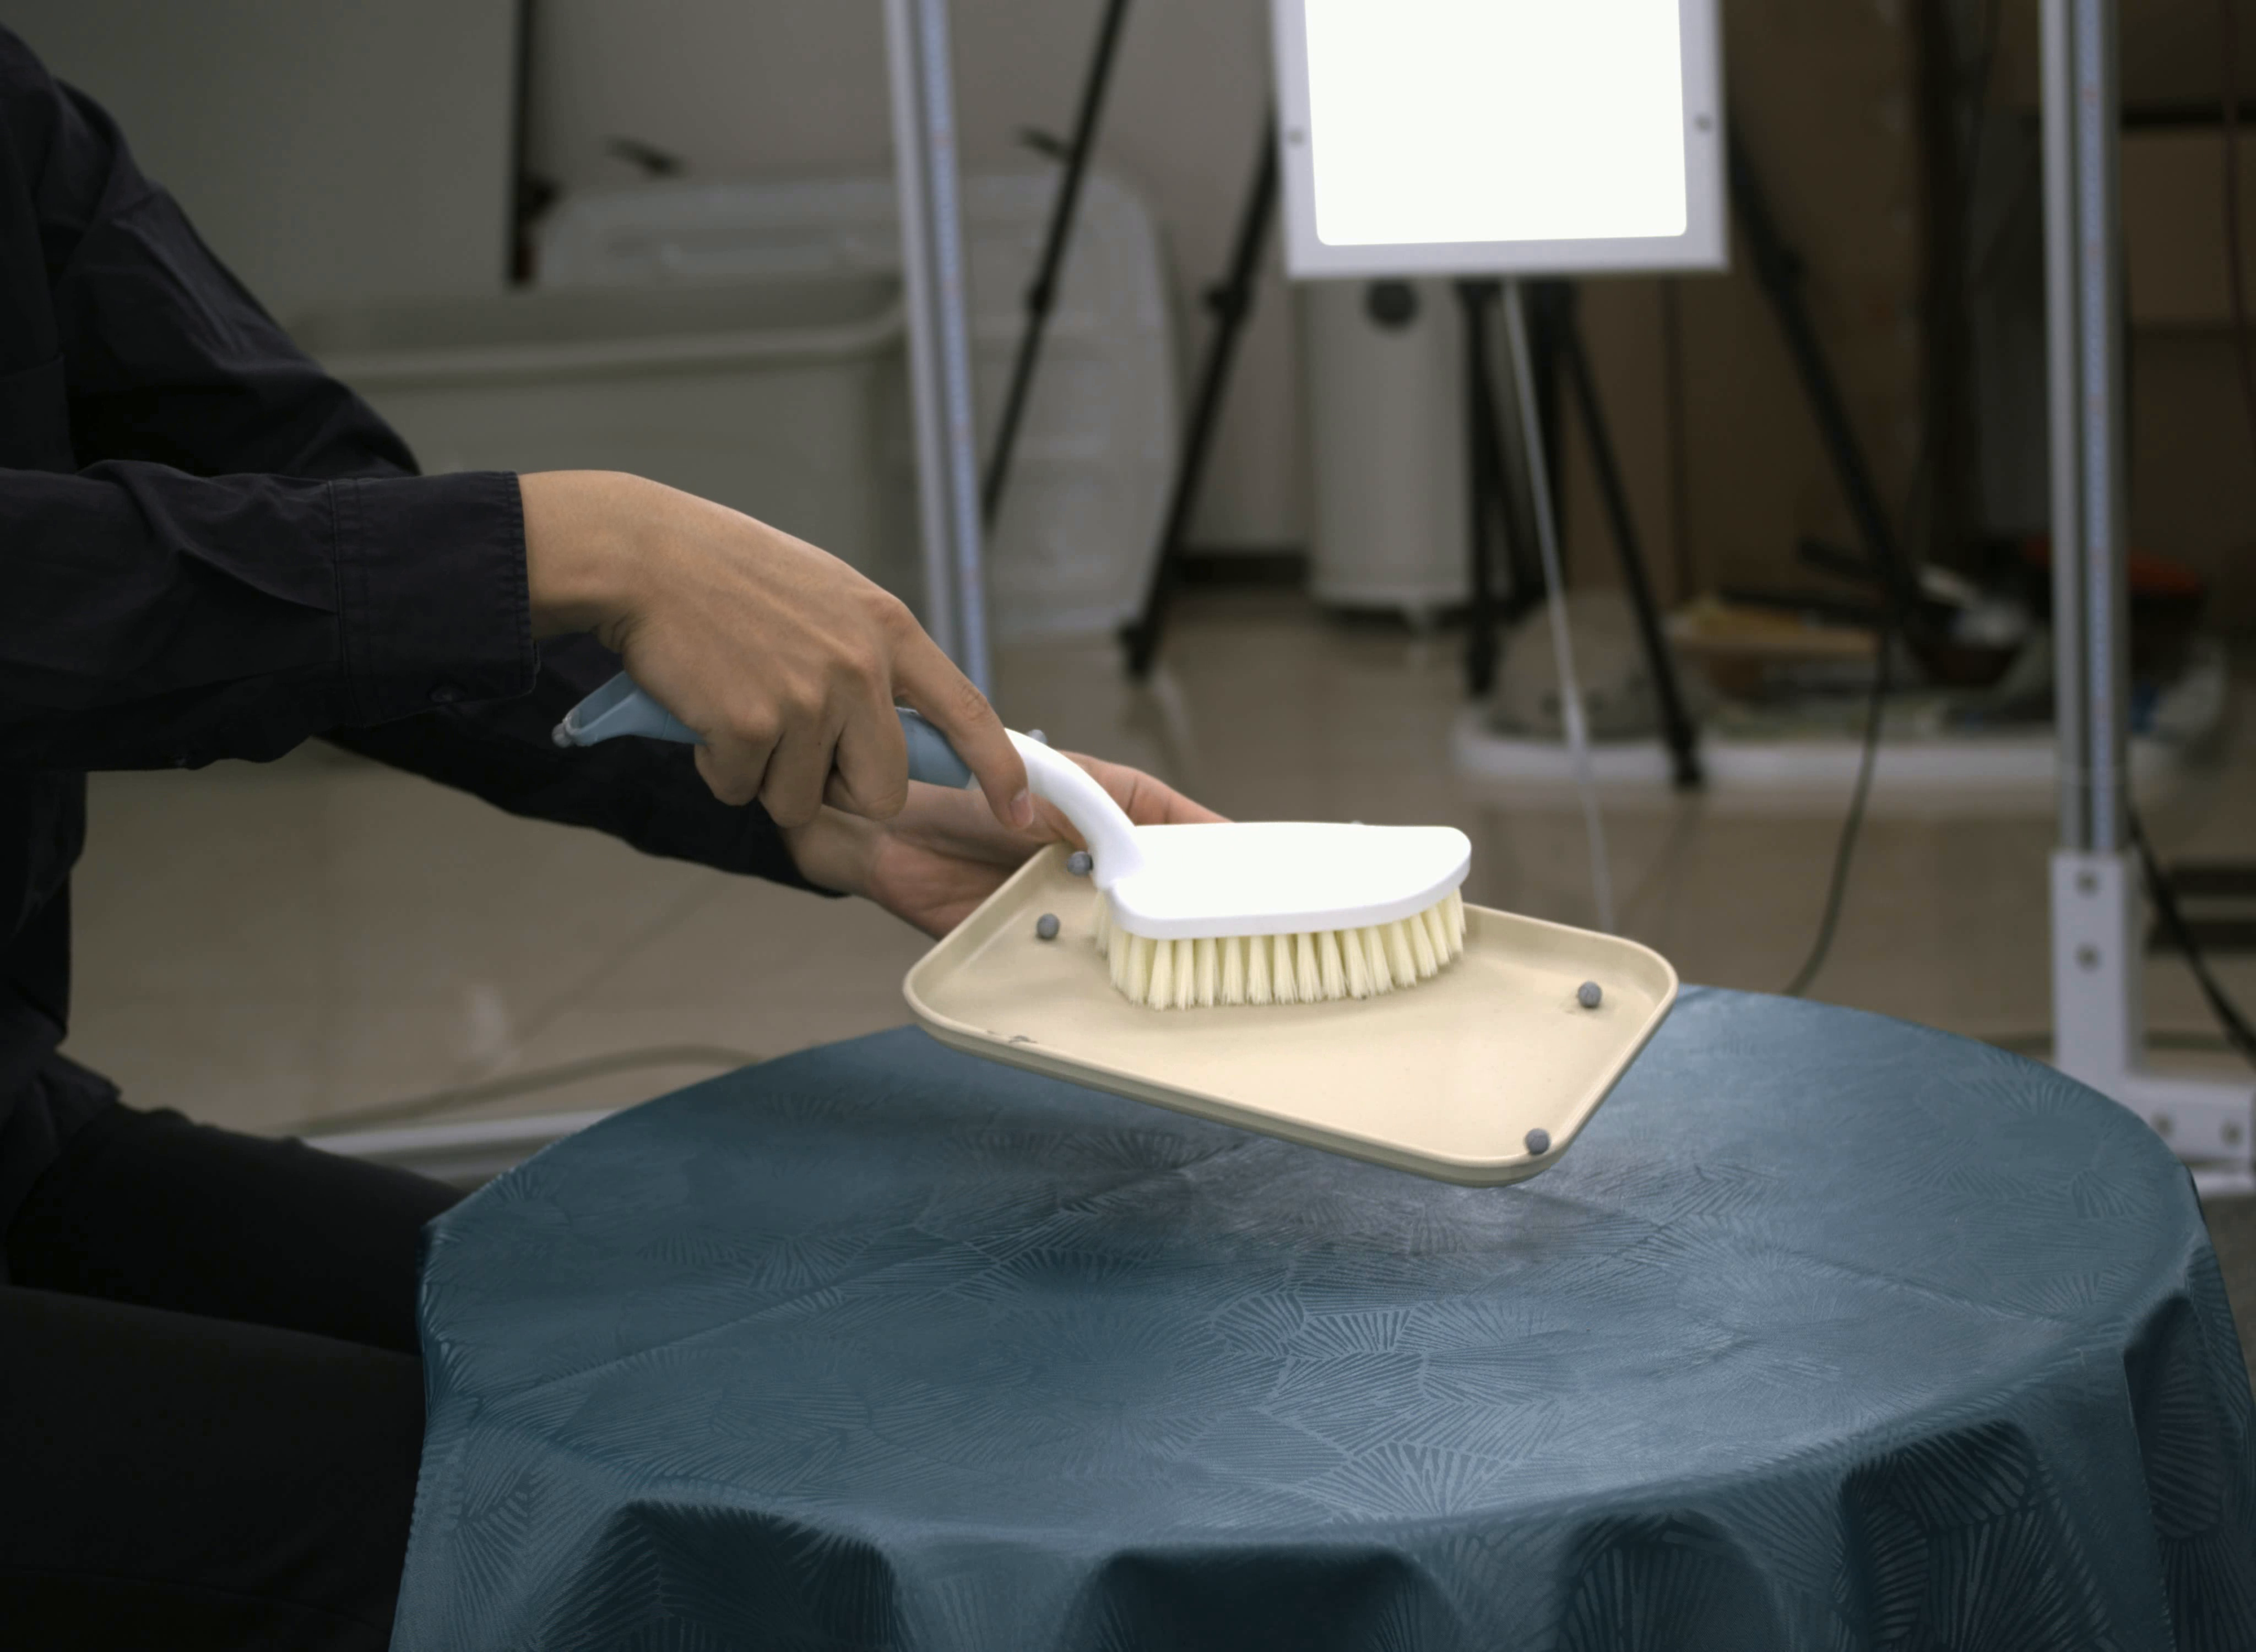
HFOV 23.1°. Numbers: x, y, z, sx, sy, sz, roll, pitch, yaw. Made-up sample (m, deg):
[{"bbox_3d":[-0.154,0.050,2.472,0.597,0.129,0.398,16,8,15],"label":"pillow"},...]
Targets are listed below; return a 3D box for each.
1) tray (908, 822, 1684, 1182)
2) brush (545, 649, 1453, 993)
[{"bbox_3d":[0.058,0.059,1.870,0.243,0.017,0.168,13,29,22],"label":"tray"},{"bbox_3d":[-0.046,0.009,1.882,0.321,0.084,0.084,9,-13,-12],"label":"brush"}]
